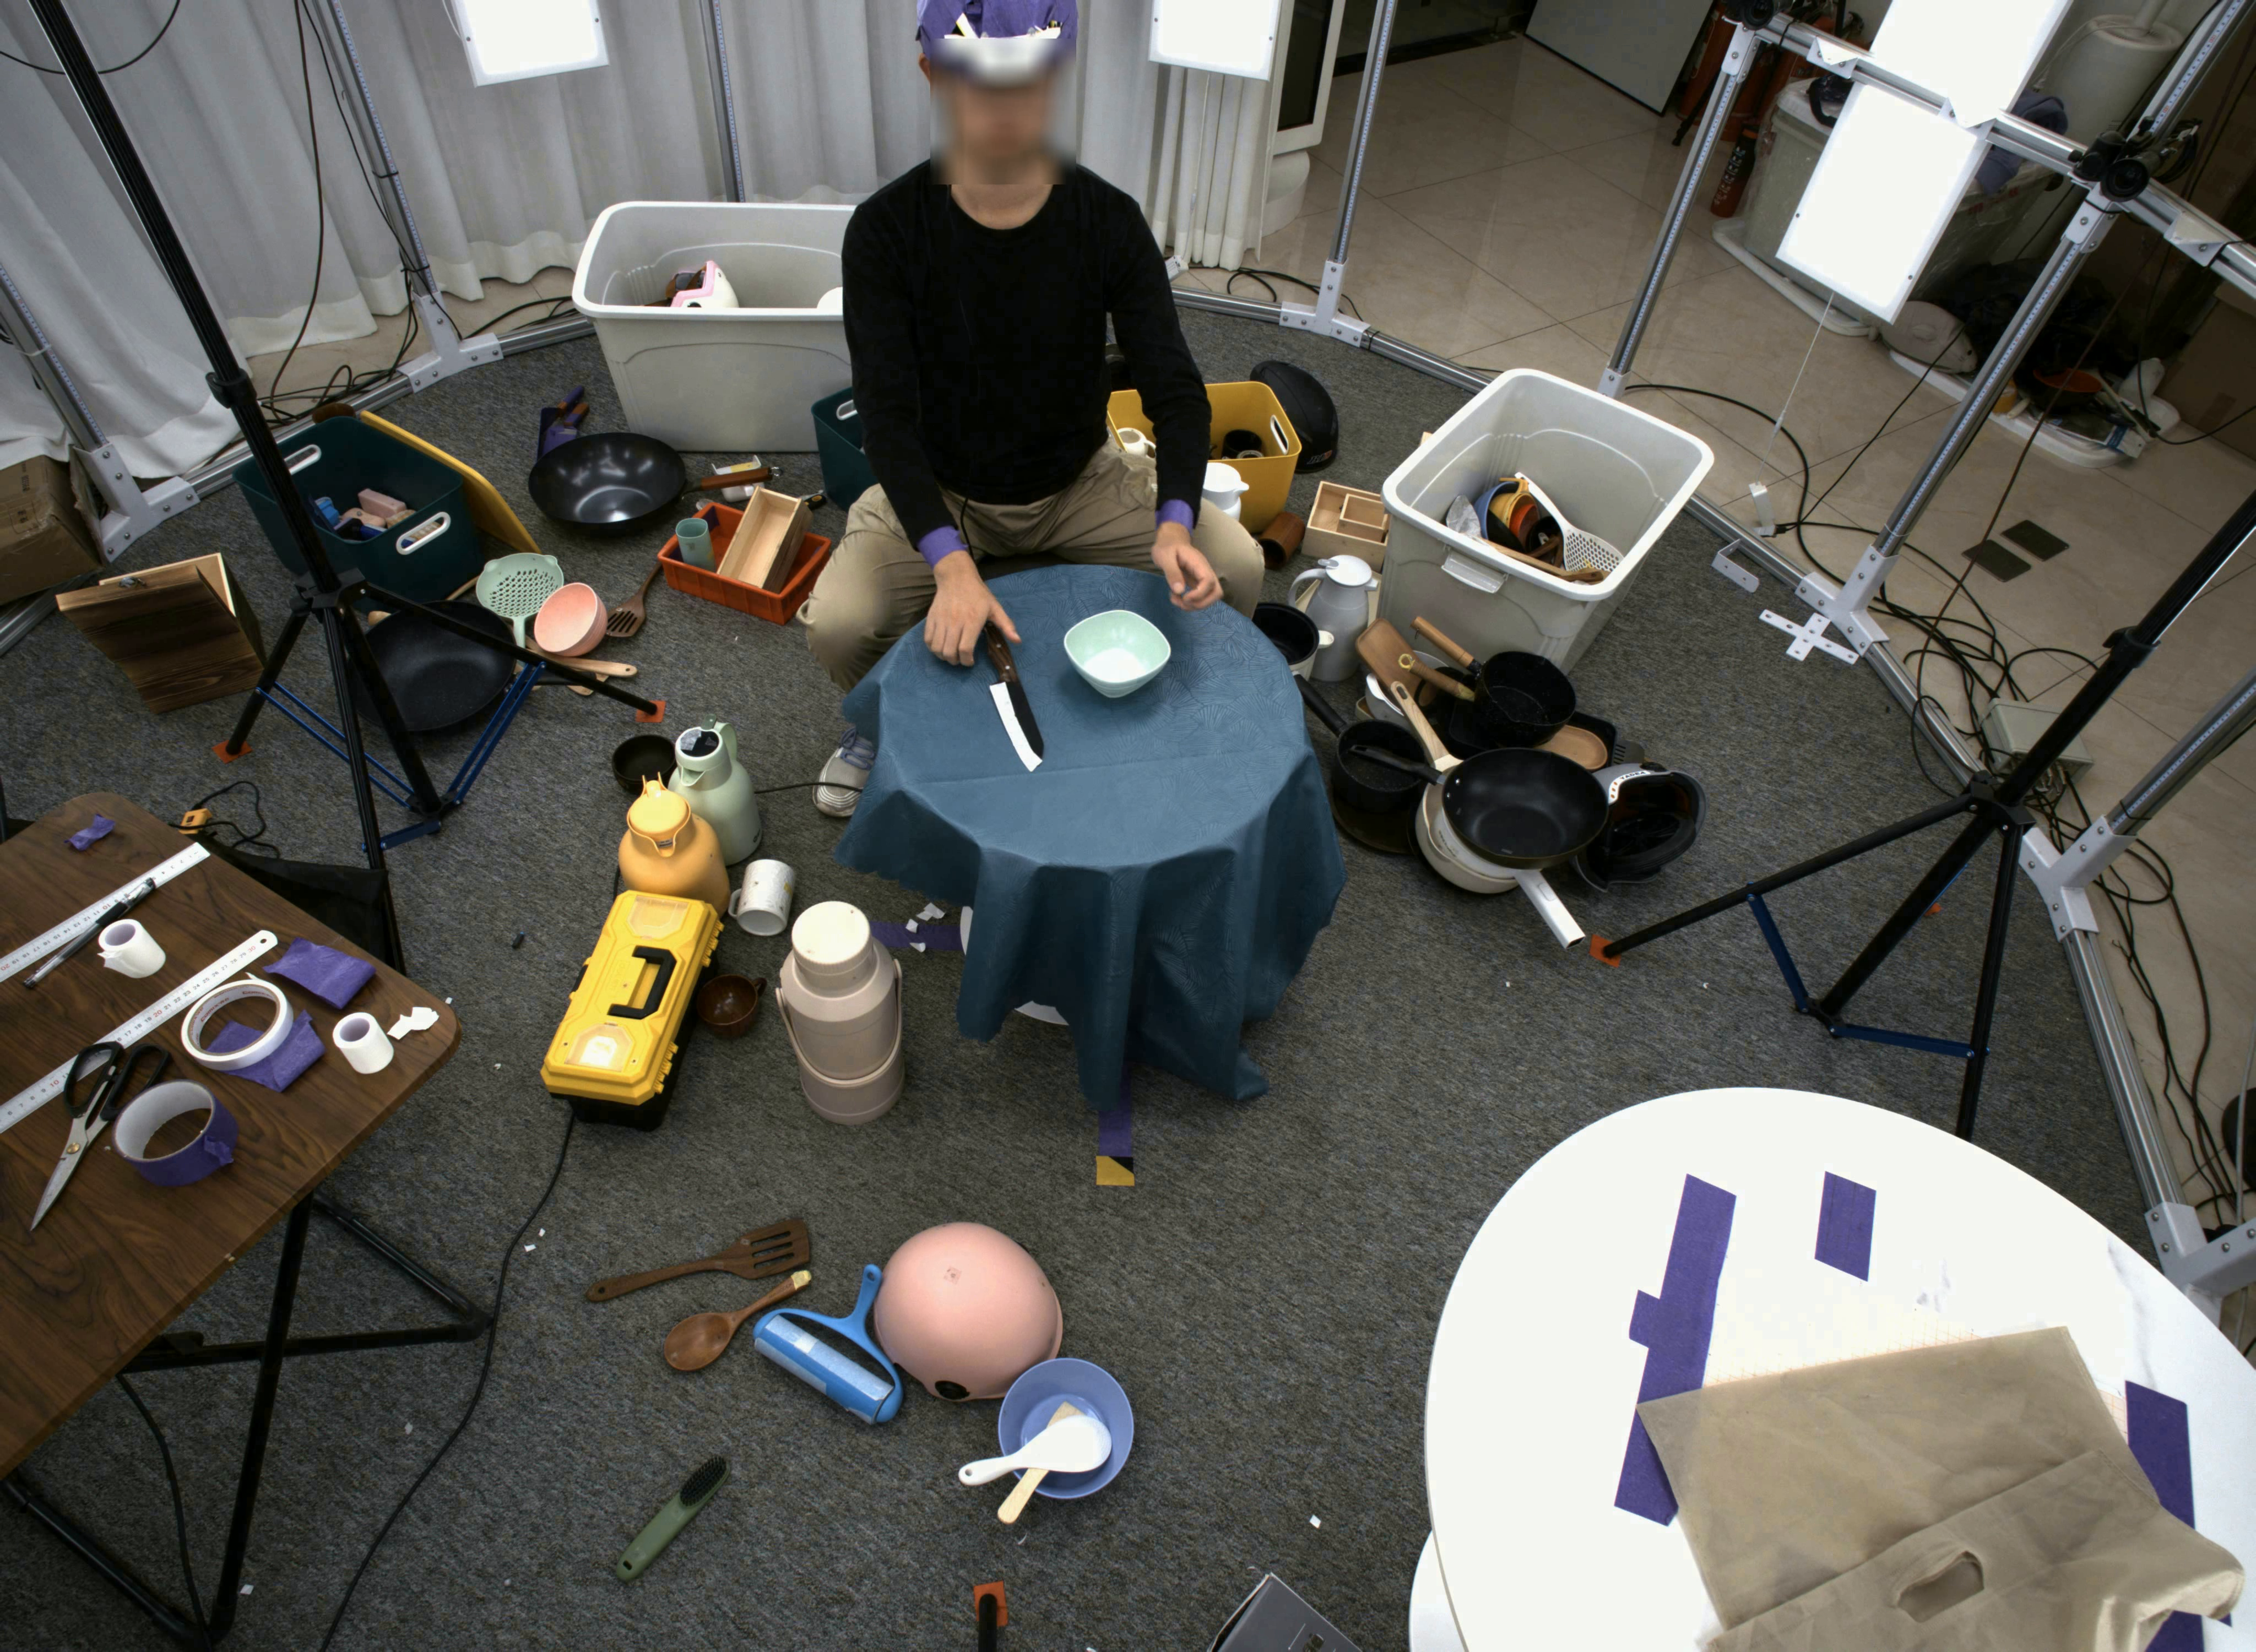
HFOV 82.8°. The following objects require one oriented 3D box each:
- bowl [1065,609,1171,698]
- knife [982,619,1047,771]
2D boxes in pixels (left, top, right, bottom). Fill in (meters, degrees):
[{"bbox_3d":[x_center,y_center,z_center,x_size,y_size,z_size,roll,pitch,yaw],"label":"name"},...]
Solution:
[{"bbox_3d":[-0.016,-0.239,1.839,0.151,0.057,0.155,2,51,-3],"label":"bowl"},{"bbox_3d":[-0.164,-0.187,1.812,0.050,0.019,0.296,-13,54,-8],"label":"knife"}]
